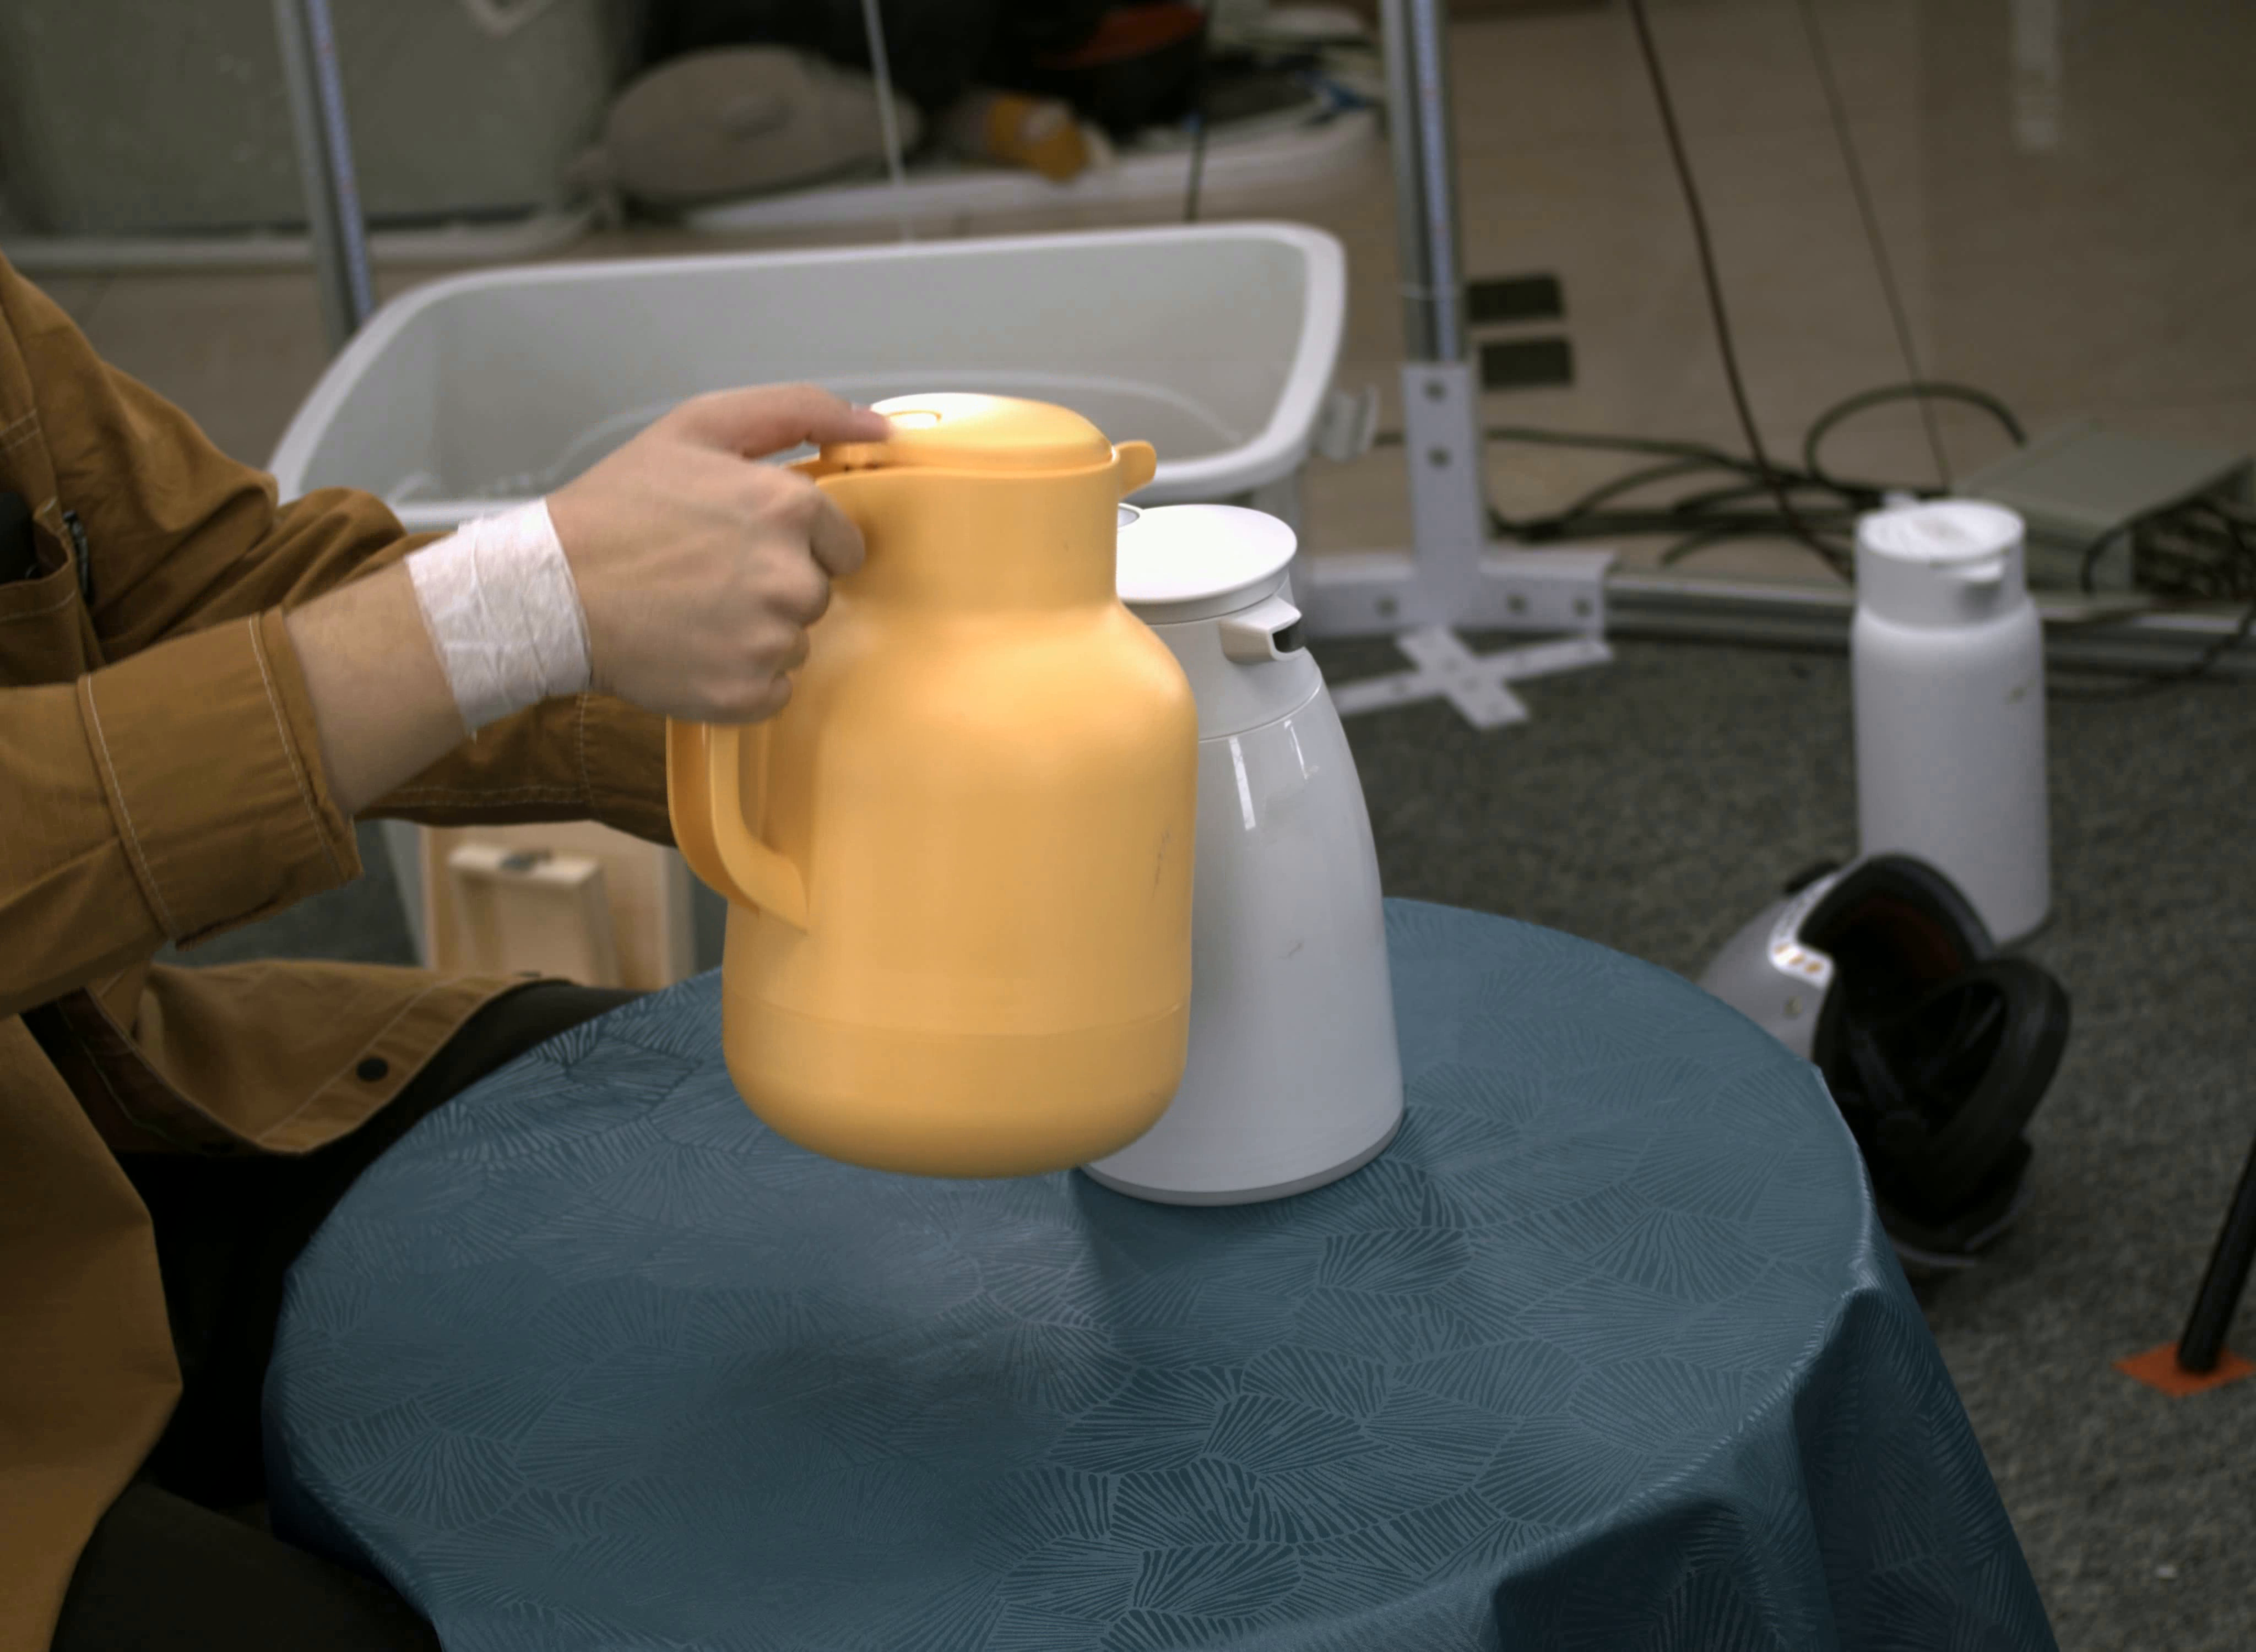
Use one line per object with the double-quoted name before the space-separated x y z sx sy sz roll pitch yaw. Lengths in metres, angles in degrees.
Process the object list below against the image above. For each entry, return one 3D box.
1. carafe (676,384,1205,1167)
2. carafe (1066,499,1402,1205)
"carafe" -0.070 -0.019 1.939 0.202 0.263 0.162 -8 16 -40
"carafe" 0.015 -0.001 2.147 0.131 0.252 0.166 -26 31 -35
